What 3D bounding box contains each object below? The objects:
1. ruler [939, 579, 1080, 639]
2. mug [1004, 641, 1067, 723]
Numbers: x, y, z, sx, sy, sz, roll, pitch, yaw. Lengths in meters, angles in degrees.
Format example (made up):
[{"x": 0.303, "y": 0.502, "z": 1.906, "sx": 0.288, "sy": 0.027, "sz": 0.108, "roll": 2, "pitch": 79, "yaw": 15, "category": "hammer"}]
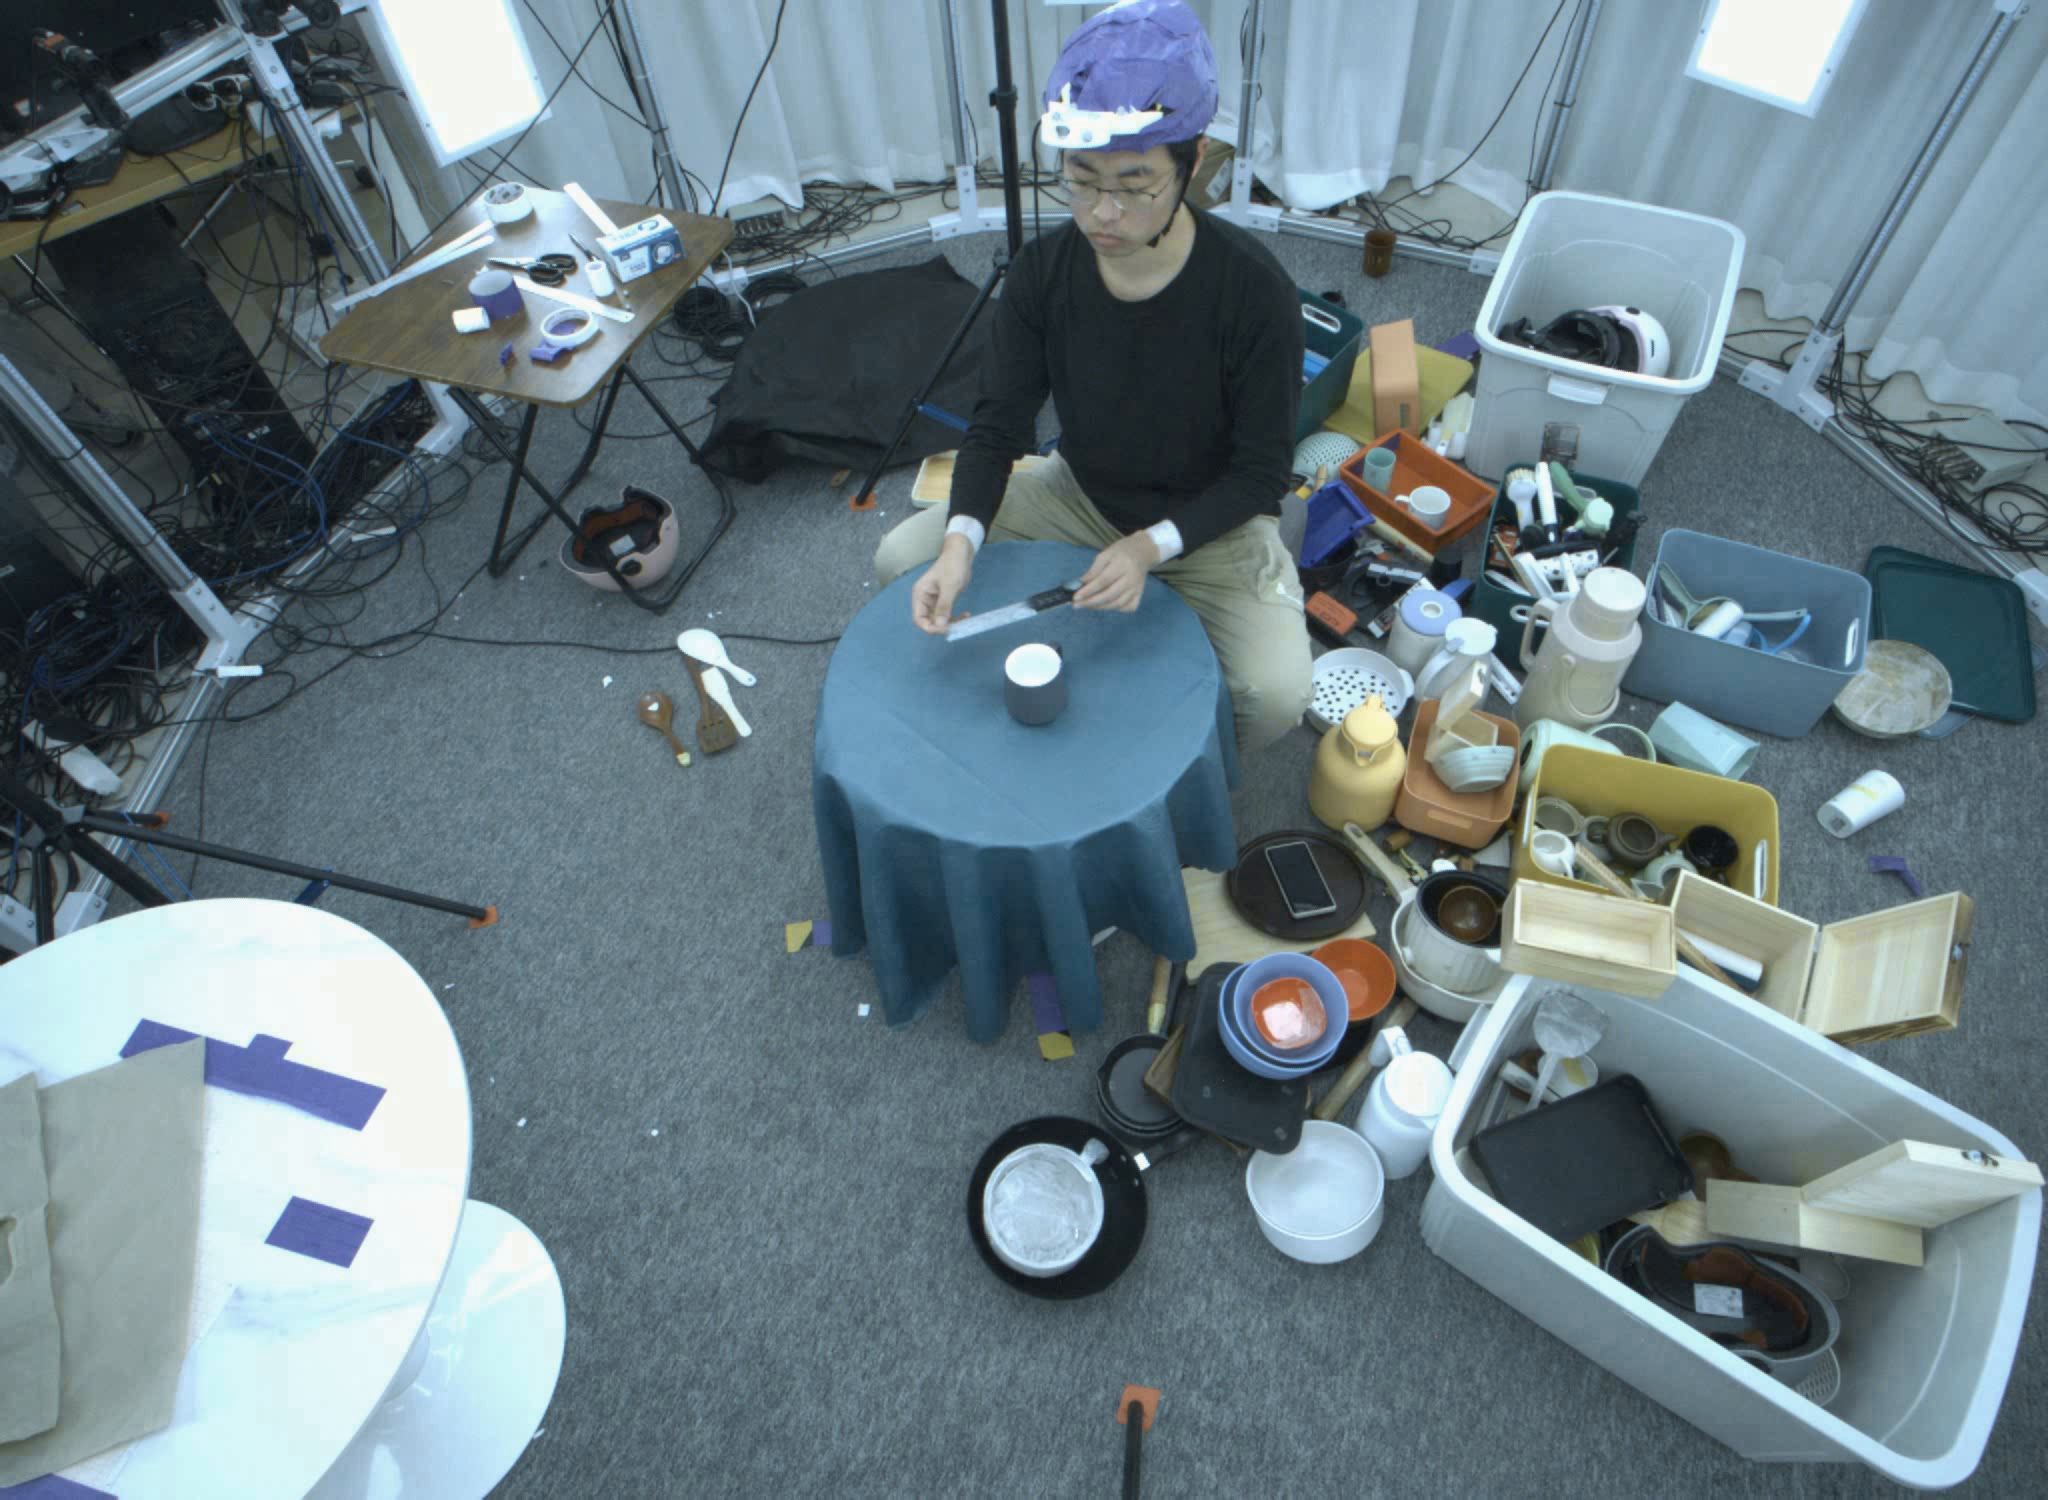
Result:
[{"x": -0.019, "y": -0.209, "z": 1.798, "sx": 0.220, "sy": 0.024, "sz": 0.037, "roll": -18, "pitch": 42, "yaw": -17, "category": "ruler"}, {"x": 0.023, "y": -0.108, "z": 1.806, "sx": 0.092, "sy": 0.091, "sz": 0.123, "roll": 24, "pitch": 61, "yaw": 18, "category": "mug"}]
